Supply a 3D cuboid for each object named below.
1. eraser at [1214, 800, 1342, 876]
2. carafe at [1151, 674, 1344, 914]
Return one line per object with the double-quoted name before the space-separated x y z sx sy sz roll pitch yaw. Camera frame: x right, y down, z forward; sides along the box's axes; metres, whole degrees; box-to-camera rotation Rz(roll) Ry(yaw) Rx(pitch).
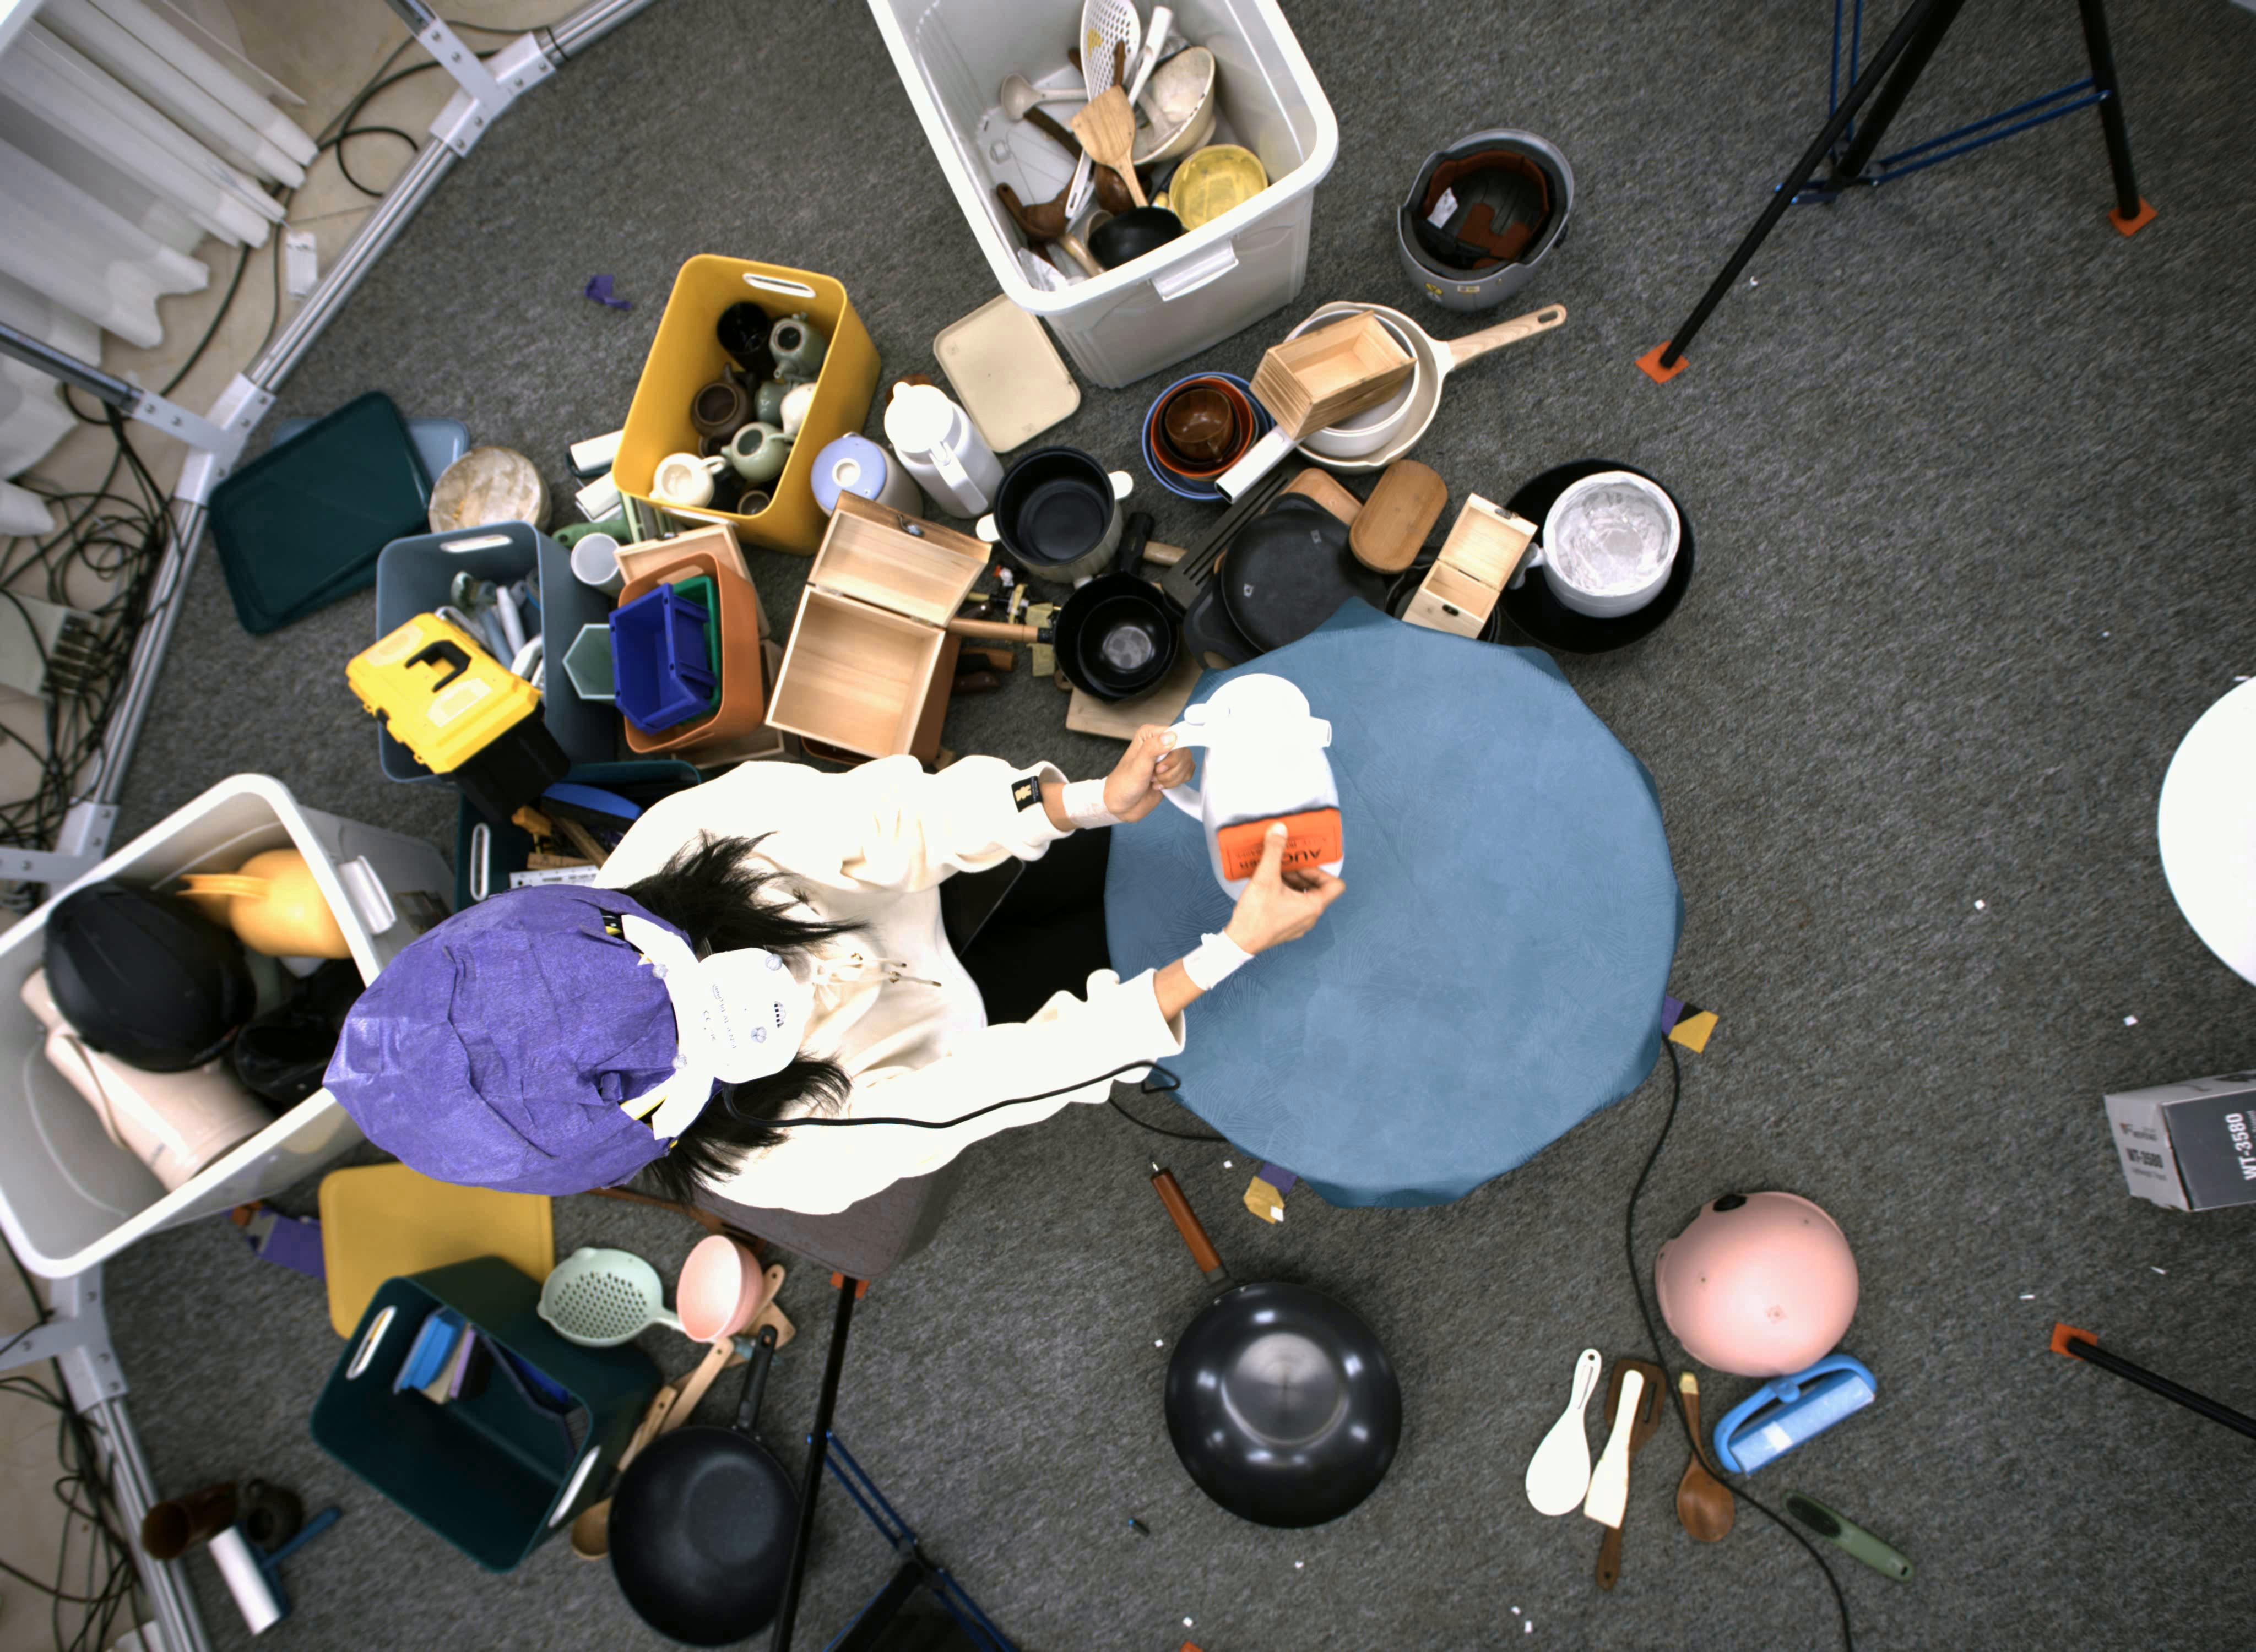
"eraser" 0.133 0.010 1.218 0.108 0.060 0.022 -11 48 4
"carafe" 0.109 -0.034 1.279 0.168 0.253 0.129 3 61 15
